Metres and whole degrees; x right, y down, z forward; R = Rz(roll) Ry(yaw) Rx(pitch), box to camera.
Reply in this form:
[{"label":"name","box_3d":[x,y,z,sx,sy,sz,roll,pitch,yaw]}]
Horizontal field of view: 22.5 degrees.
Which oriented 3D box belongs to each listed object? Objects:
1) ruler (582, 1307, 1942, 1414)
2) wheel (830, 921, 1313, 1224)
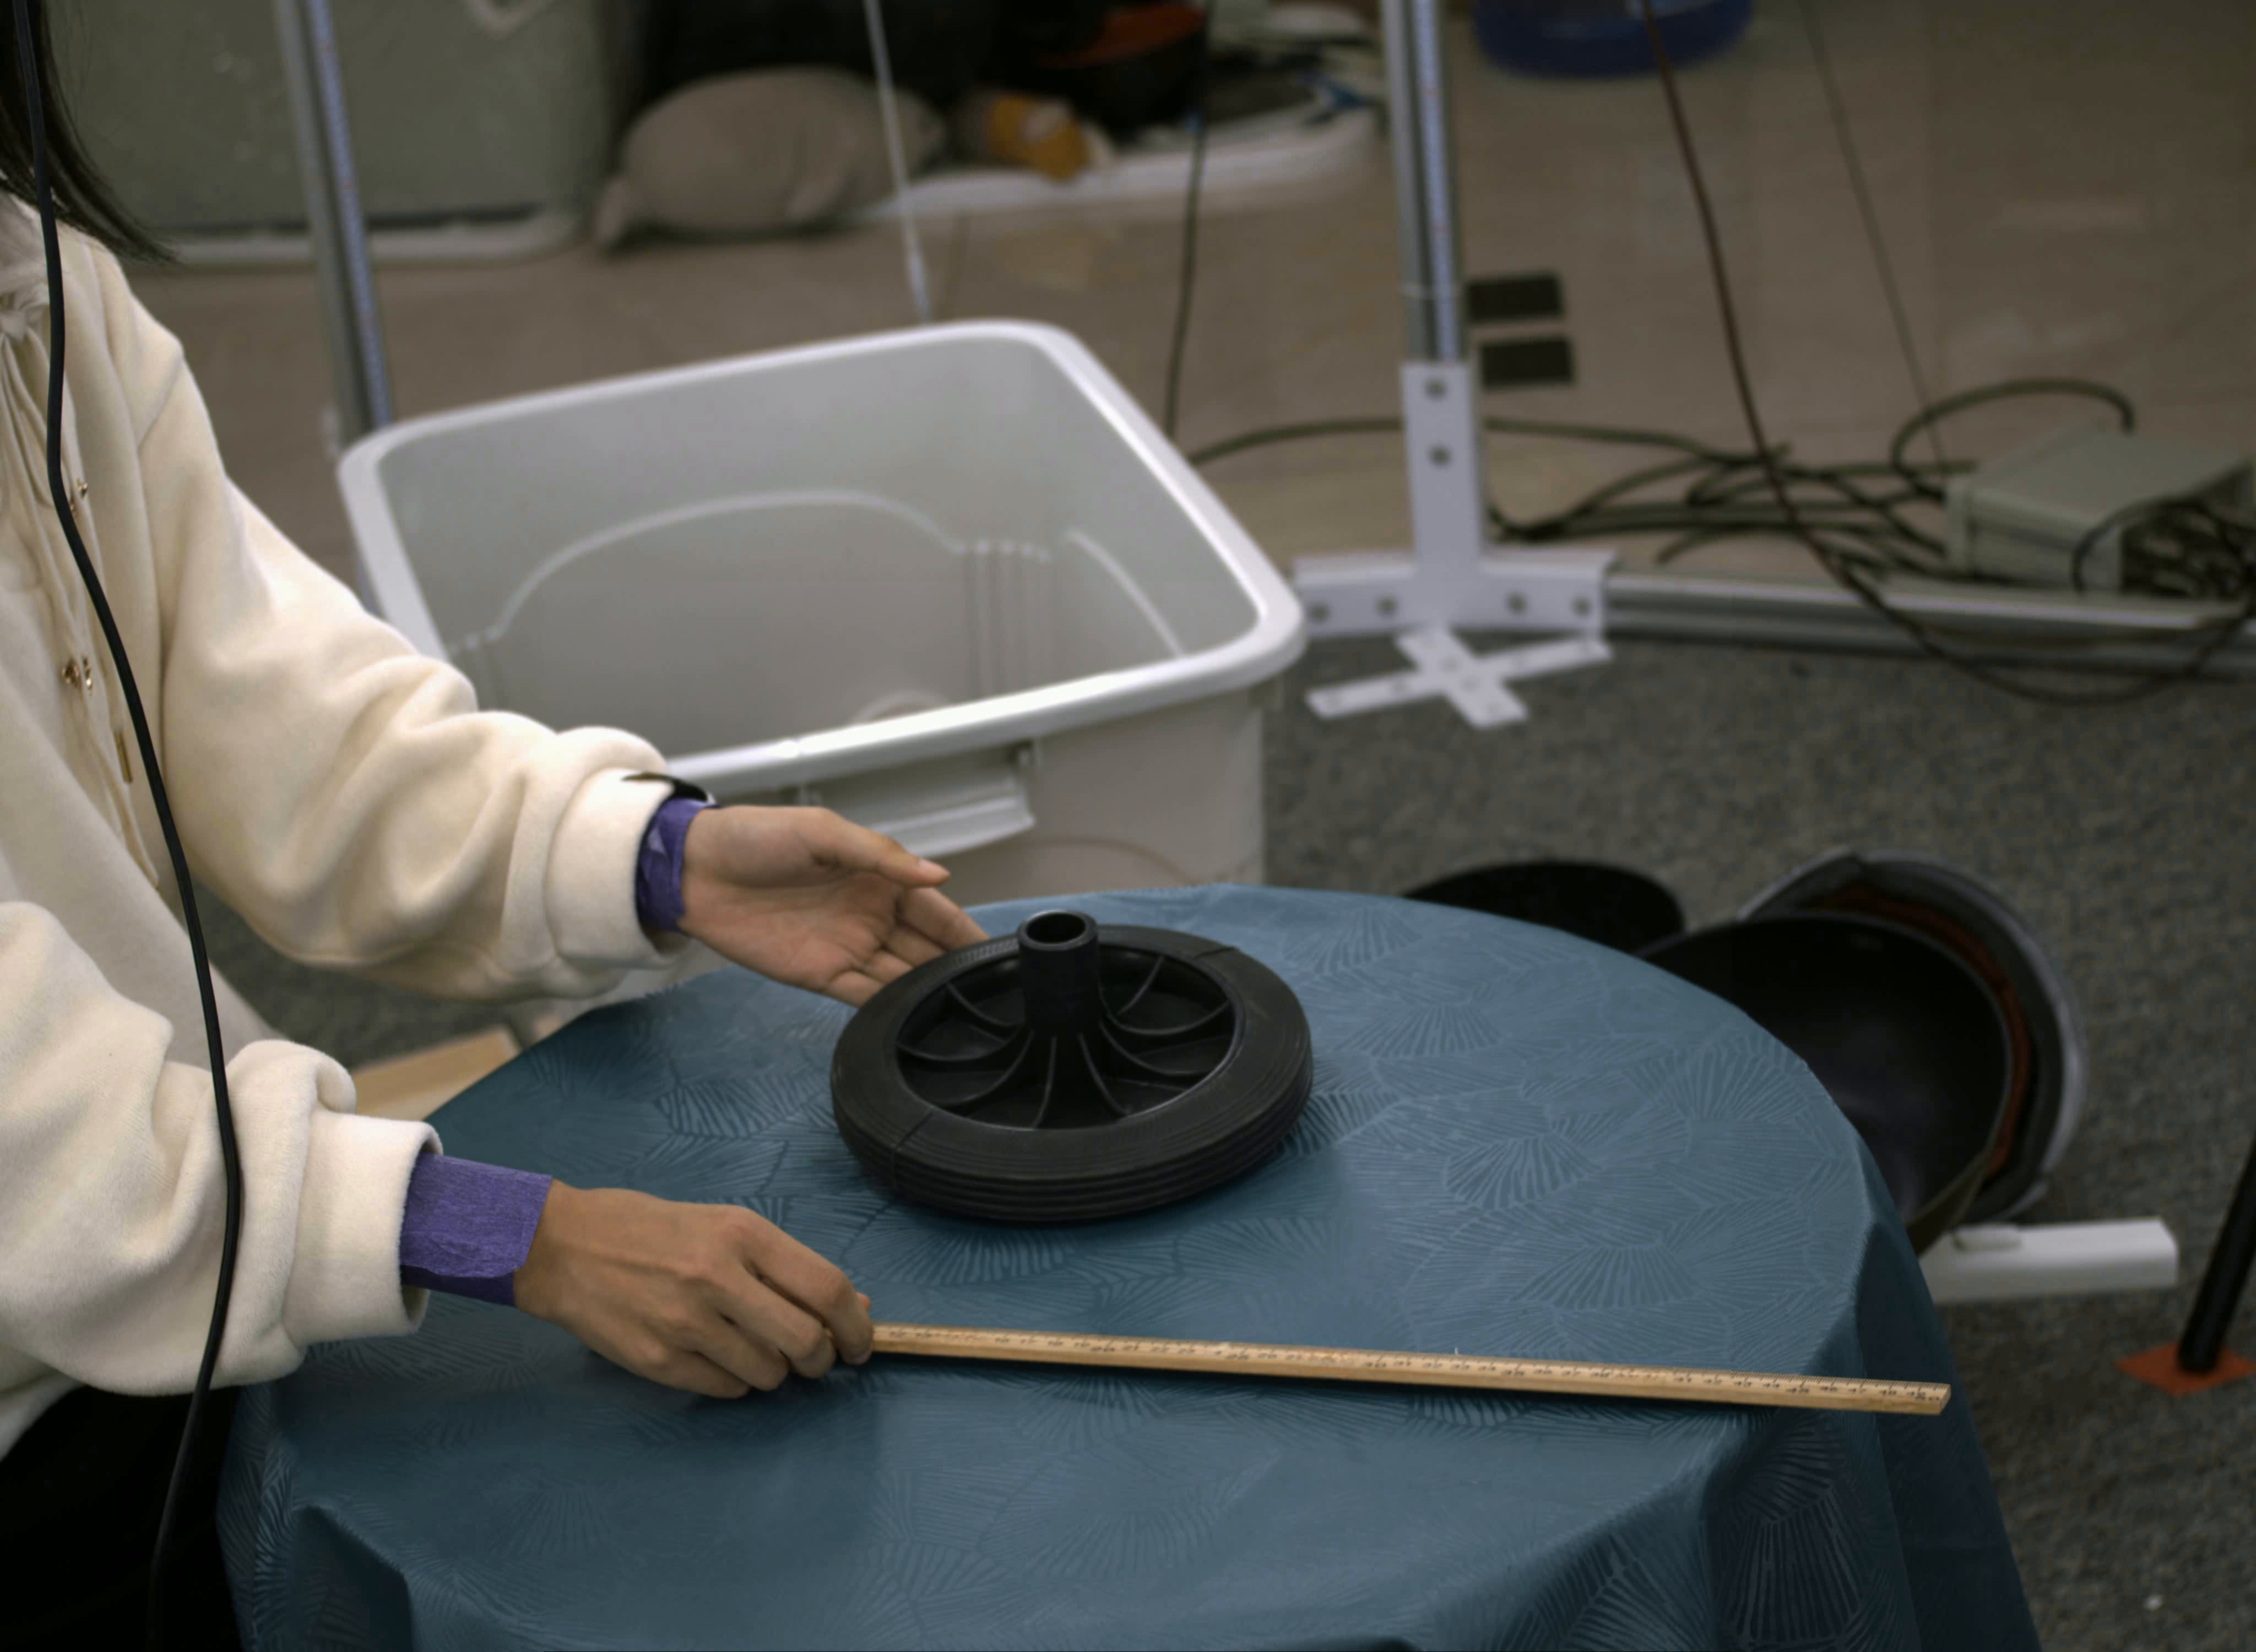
[{"label":"ruler","box_3d":[0.039,0.189,2.017,0.499,0.006,0.026,2,7,18]},{"label":"wheel","box_3d":[-0.024,0.078,2.188,0.187,0.080,0.187,-8,30,-5]}]
